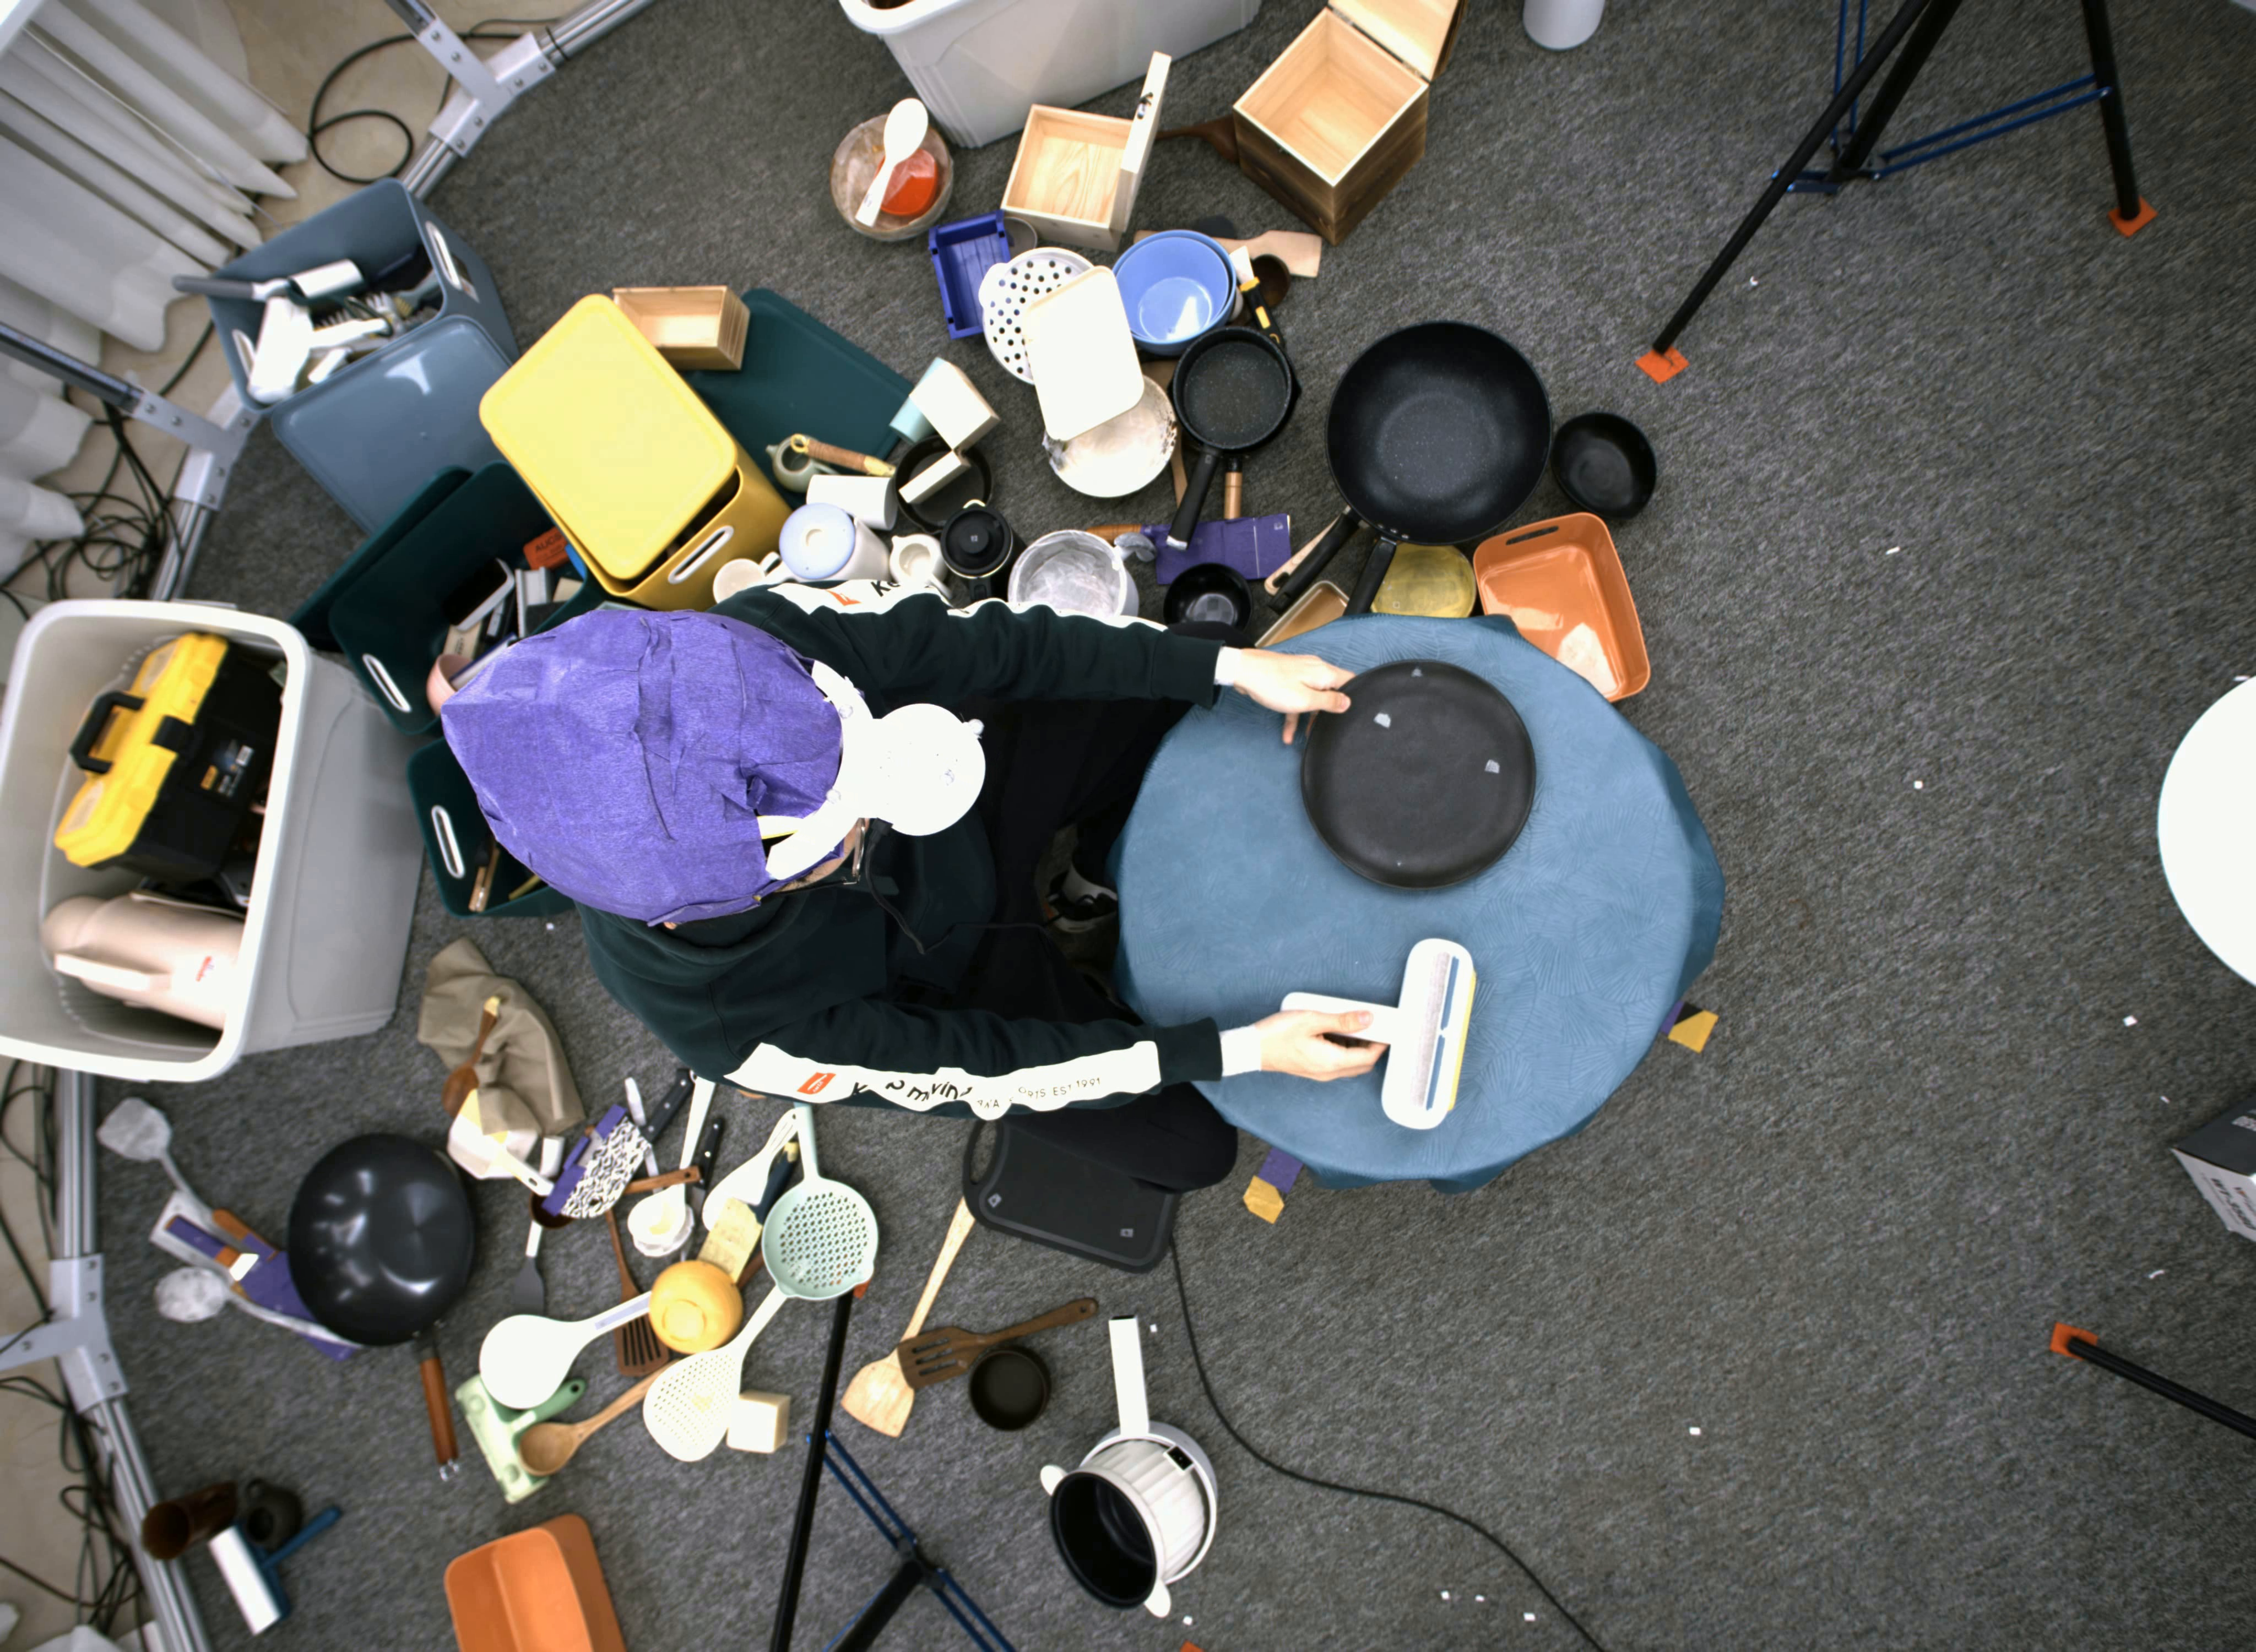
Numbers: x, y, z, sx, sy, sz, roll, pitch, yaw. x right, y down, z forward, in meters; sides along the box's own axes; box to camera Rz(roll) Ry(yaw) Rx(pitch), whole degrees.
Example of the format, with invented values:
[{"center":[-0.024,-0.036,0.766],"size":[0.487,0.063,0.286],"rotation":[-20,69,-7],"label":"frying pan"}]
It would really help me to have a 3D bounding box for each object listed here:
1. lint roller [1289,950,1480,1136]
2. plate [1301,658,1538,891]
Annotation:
[{"center":[0.253,0.208,1.435],"size":[0.193,0.075,0.191],"rotation":[14,80,24],"label":"lint roller"},{"center":[0.303,-0.055,1.436],"size":[0.245,0.023,0.244],"rotation":[0,91,7],"label":"plate"}]
